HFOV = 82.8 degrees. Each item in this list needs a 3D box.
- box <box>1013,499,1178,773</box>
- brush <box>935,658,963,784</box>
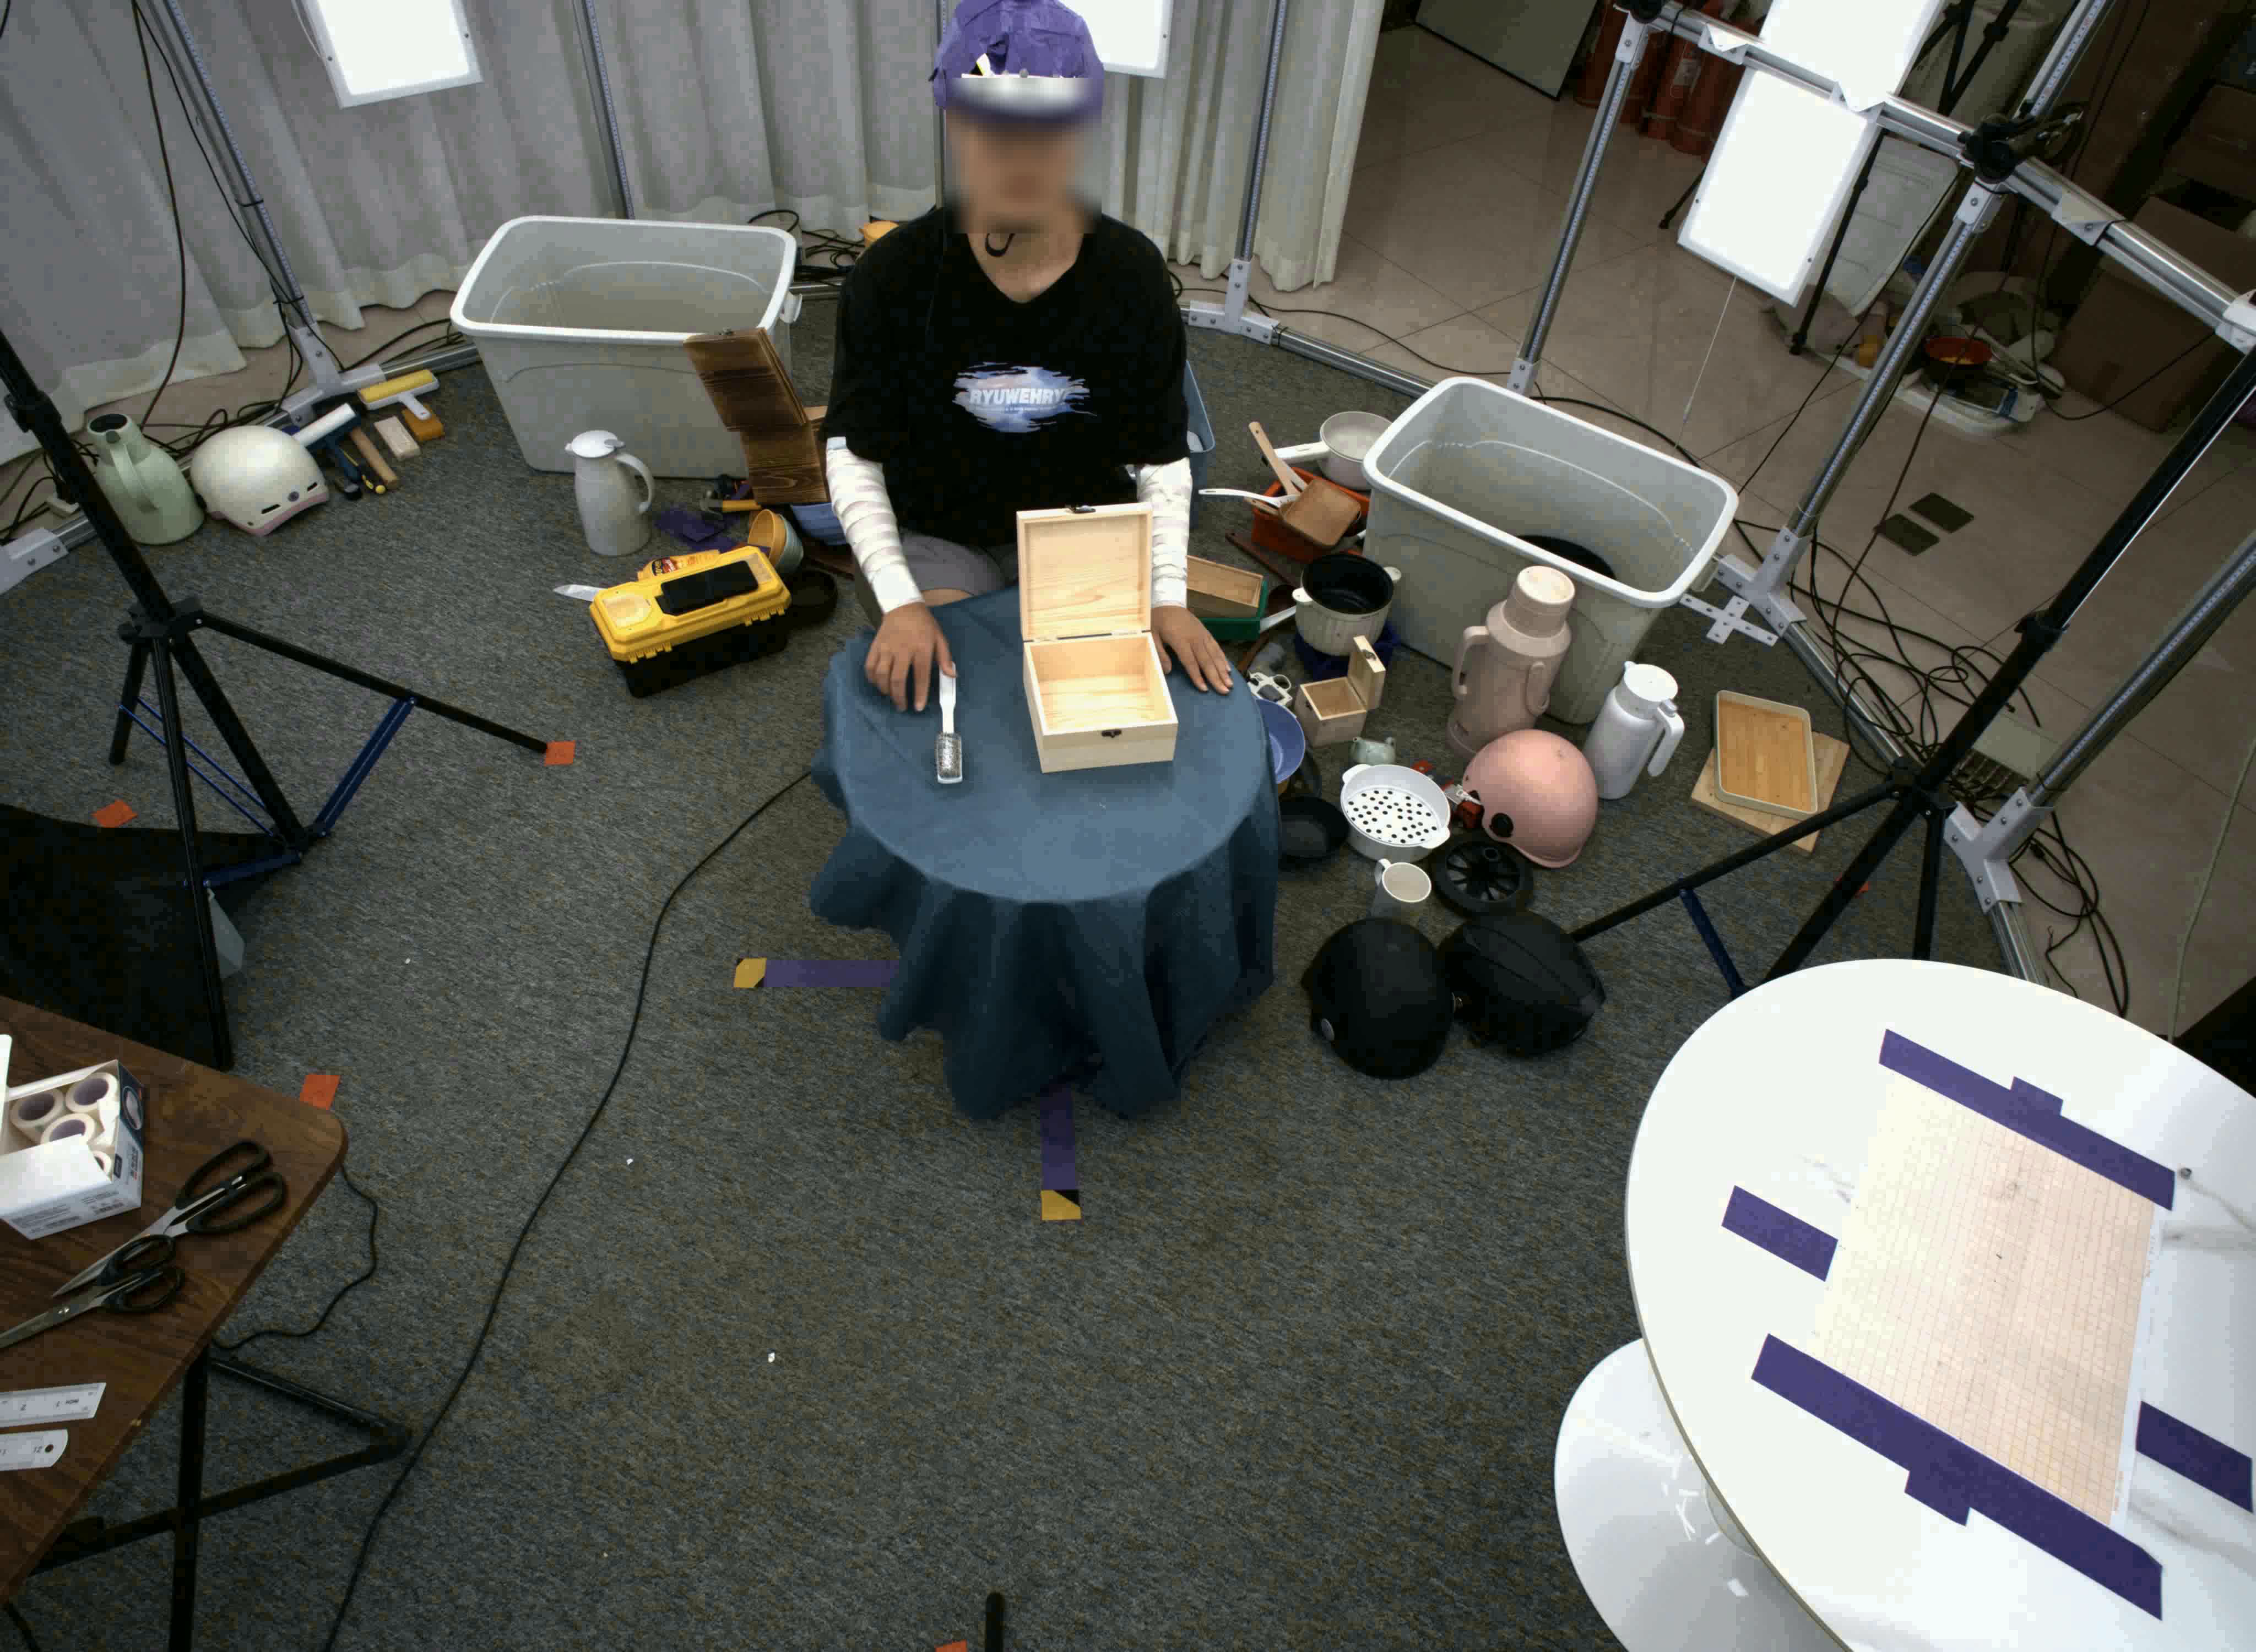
[{"bbox_3d":[-0.043,-0.254,1.730,0.181,0.247,0.272,-8,50,-8],"label":"box"},{"bbox_3d":[-0.243,-0.157,1.762,0.034,0.049,0.250,-1,50,-4],"label":"brush"}]
